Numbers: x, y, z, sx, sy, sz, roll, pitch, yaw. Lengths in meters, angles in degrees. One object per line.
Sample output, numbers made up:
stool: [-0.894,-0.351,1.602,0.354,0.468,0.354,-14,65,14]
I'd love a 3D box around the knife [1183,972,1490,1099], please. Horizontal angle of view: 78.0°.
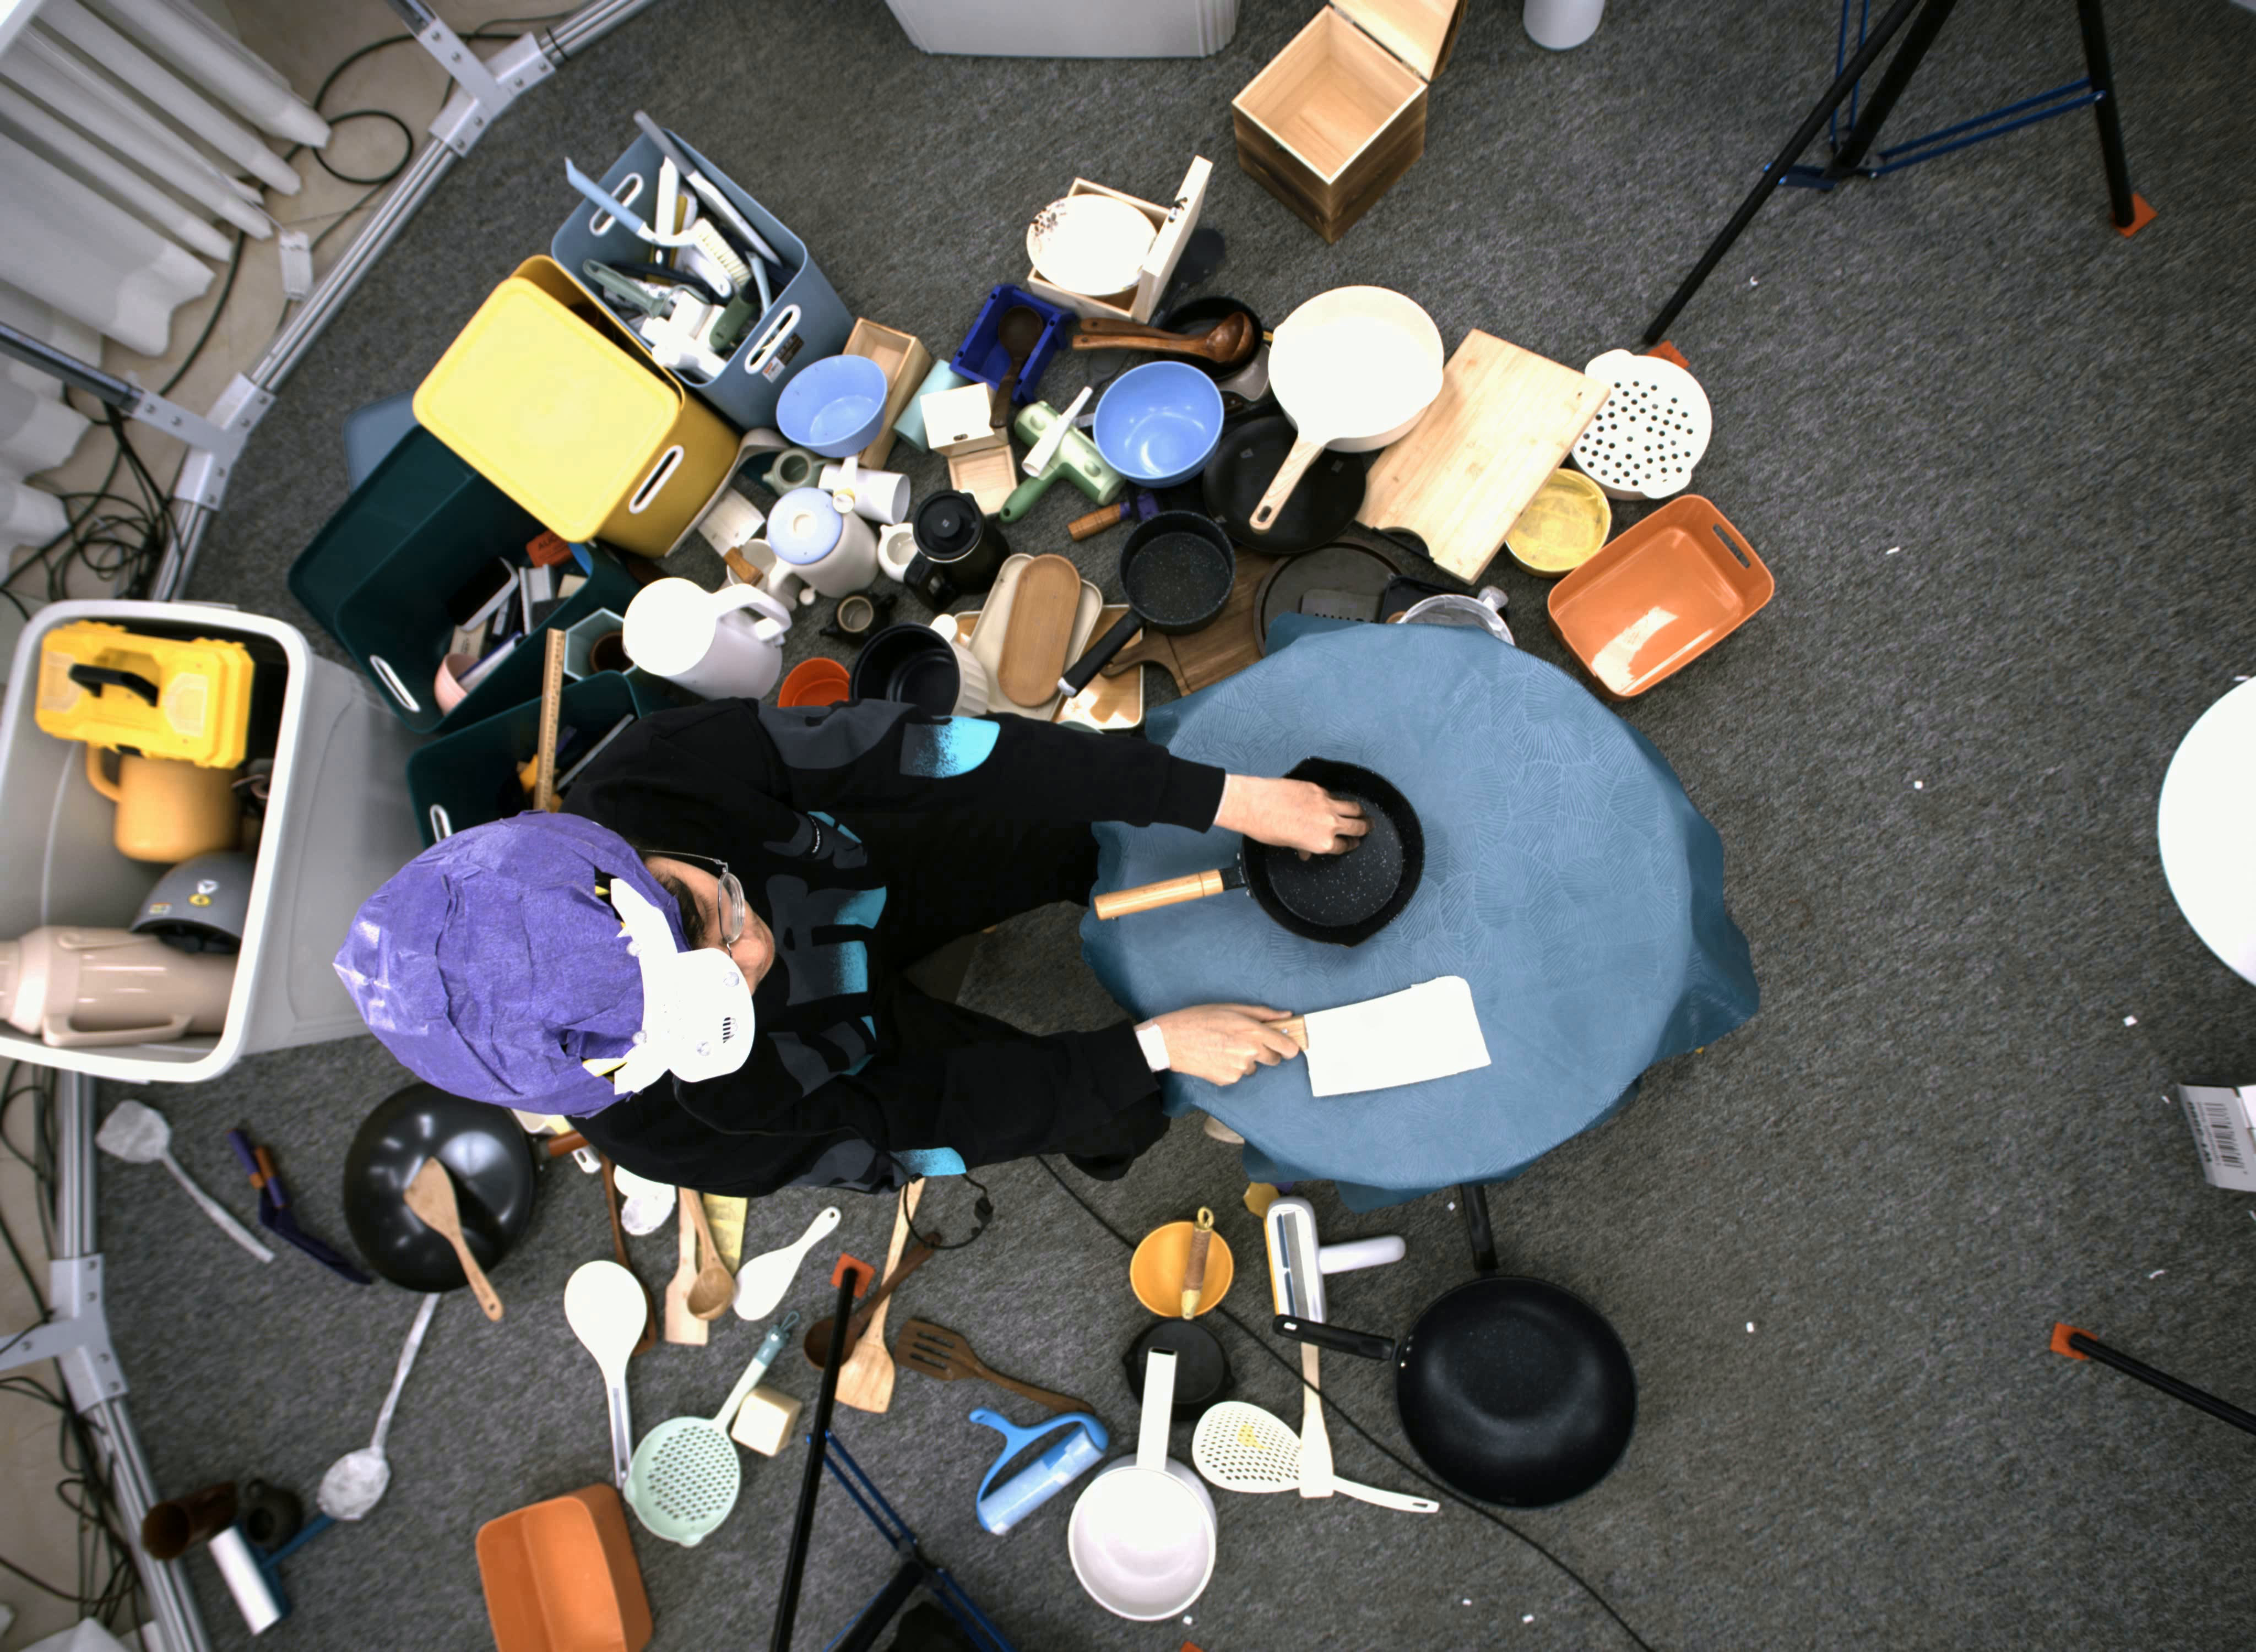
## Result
knife: [0.215,0.224,1.447,0.316,0.022,0.113,-8,85,5]

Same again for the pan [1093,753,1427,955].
pan: [0.135,0.049,1.431,0.344,0.108,0.206,-16,85,8]
